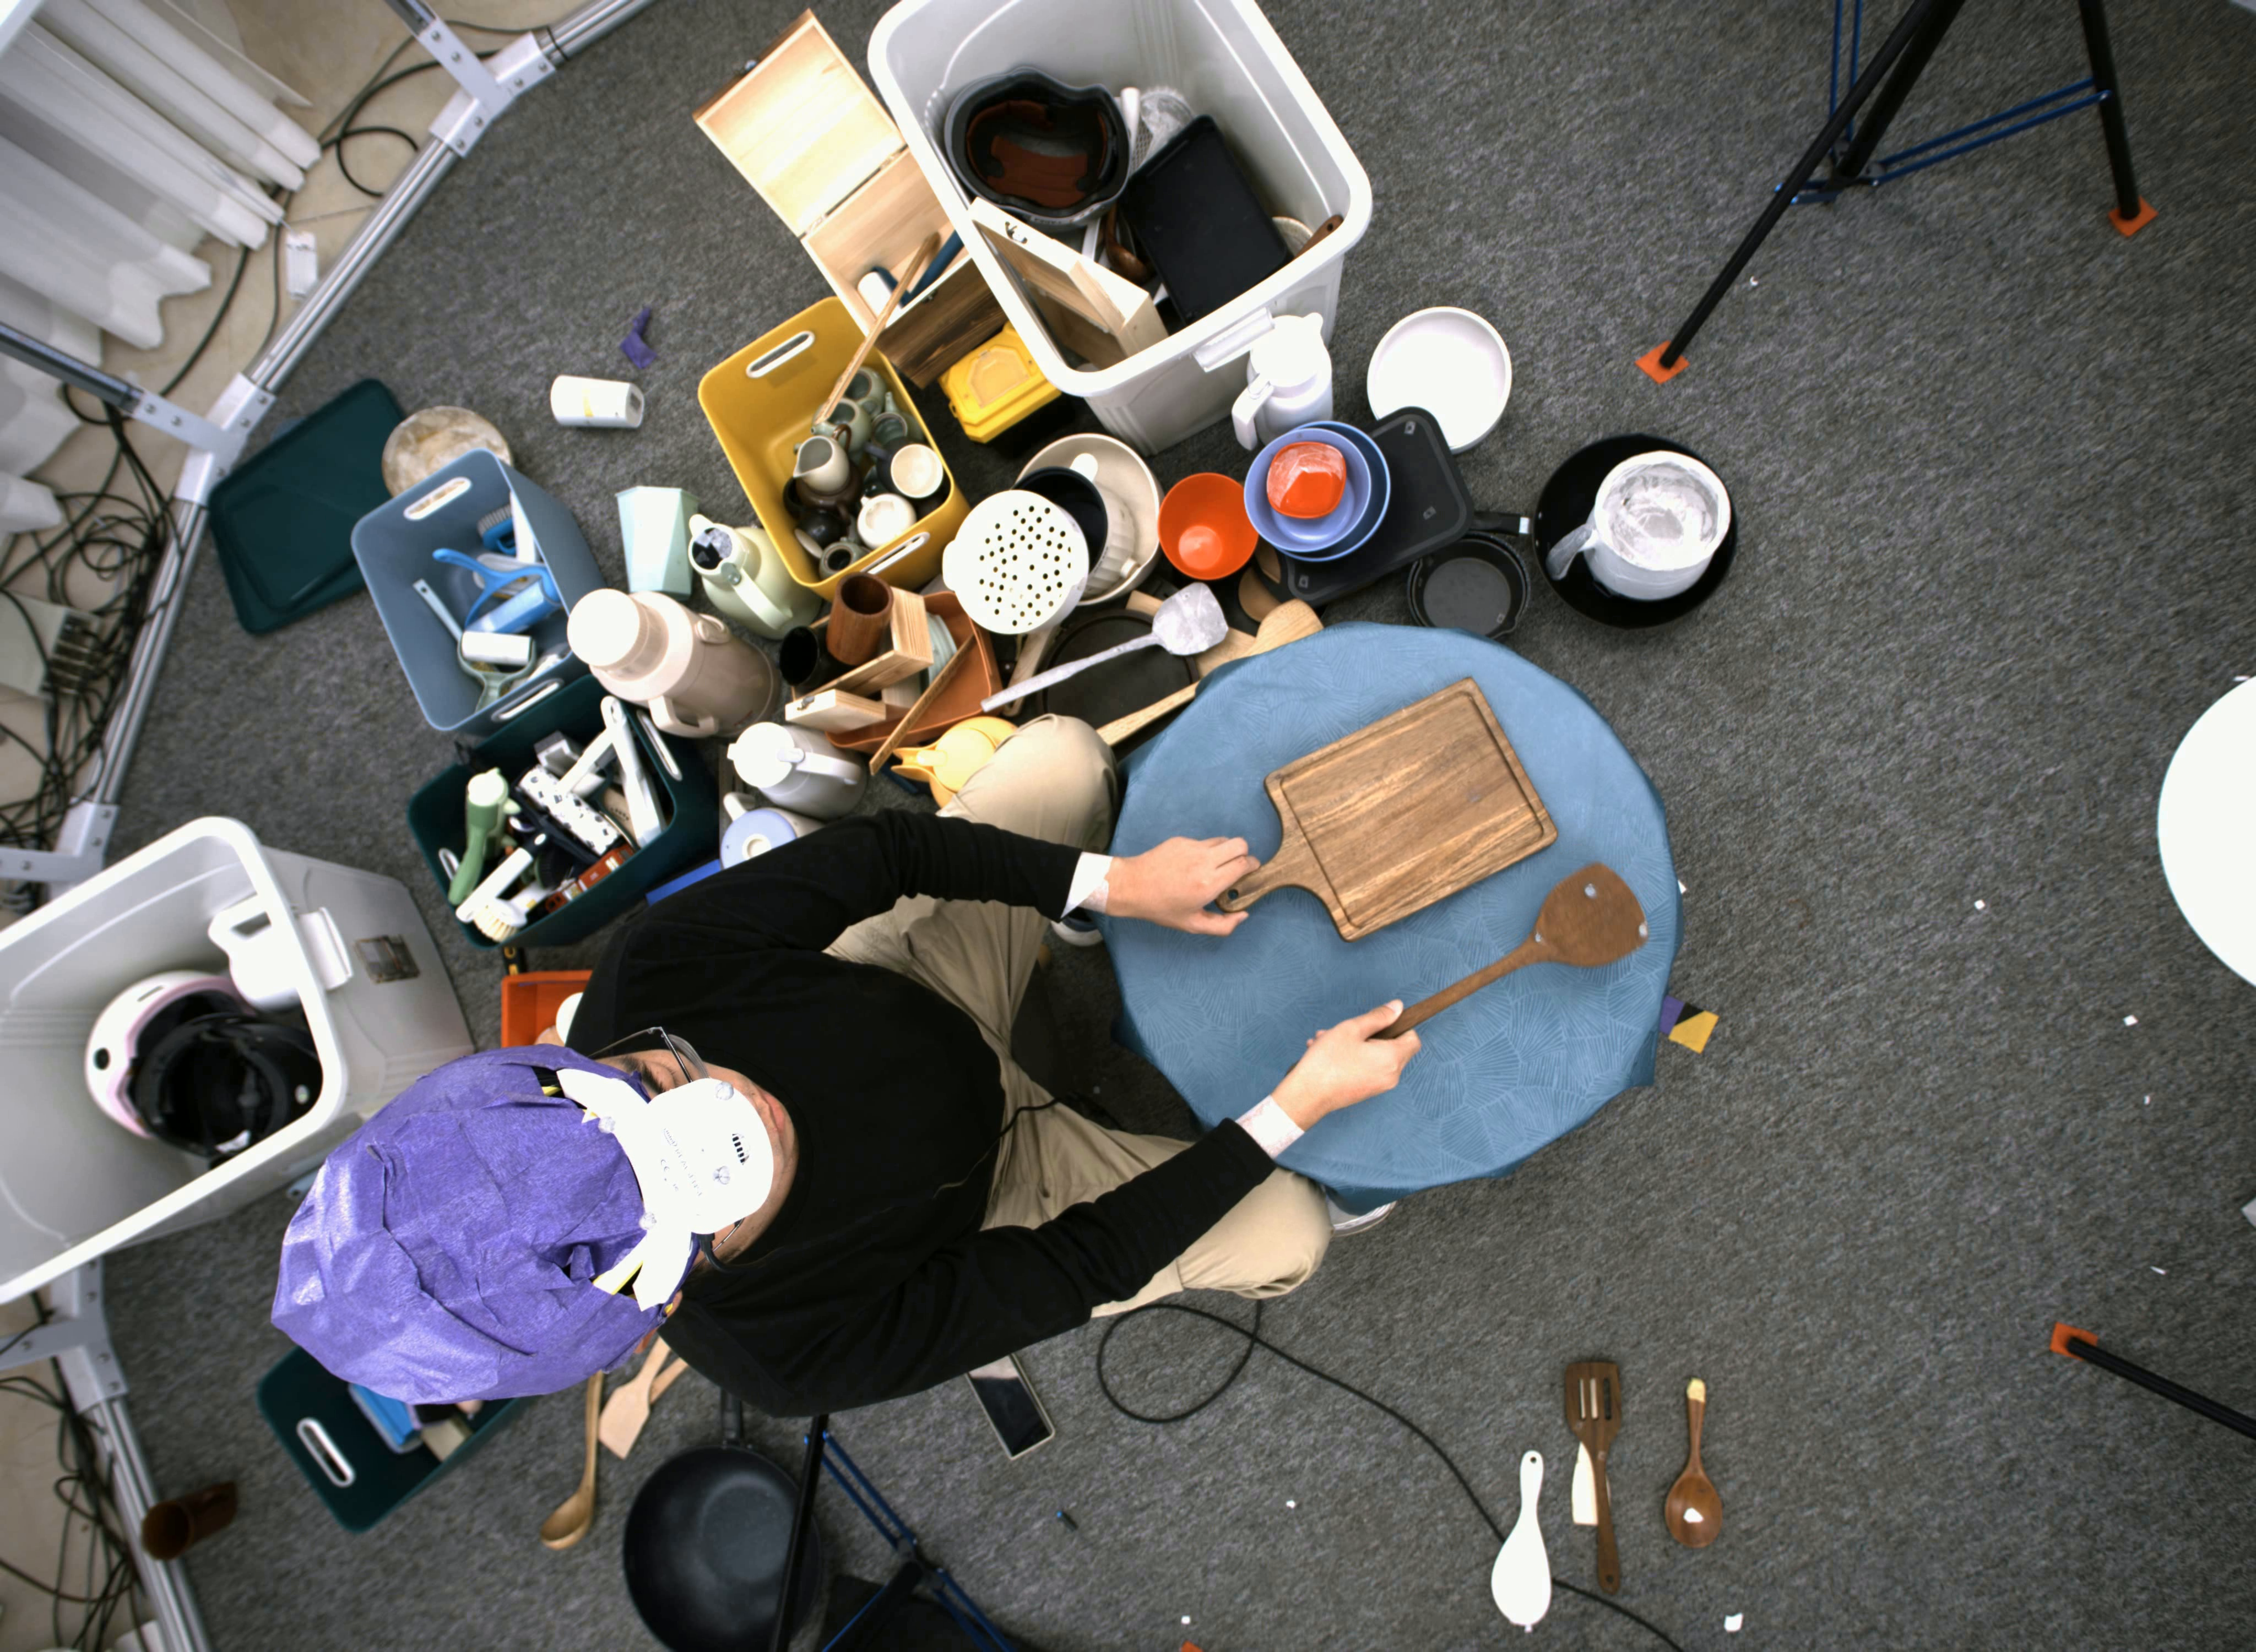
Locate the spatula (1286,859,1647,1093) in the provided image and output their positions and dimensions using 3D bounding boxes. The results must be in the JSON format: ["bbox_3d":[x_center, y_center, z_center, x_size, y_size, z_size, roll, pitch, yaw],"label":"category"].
[{"bbox_3d":[0.322,0.157,1.346,0.387,0.016,0.095,-31,71,5],"label":"spatula"}]

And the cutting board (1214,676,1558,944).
[{"bbox_3d":[0.248,0.002,1.434,0.352,0.023,0.200,-27,82,0],"label":"cutting board"}]
